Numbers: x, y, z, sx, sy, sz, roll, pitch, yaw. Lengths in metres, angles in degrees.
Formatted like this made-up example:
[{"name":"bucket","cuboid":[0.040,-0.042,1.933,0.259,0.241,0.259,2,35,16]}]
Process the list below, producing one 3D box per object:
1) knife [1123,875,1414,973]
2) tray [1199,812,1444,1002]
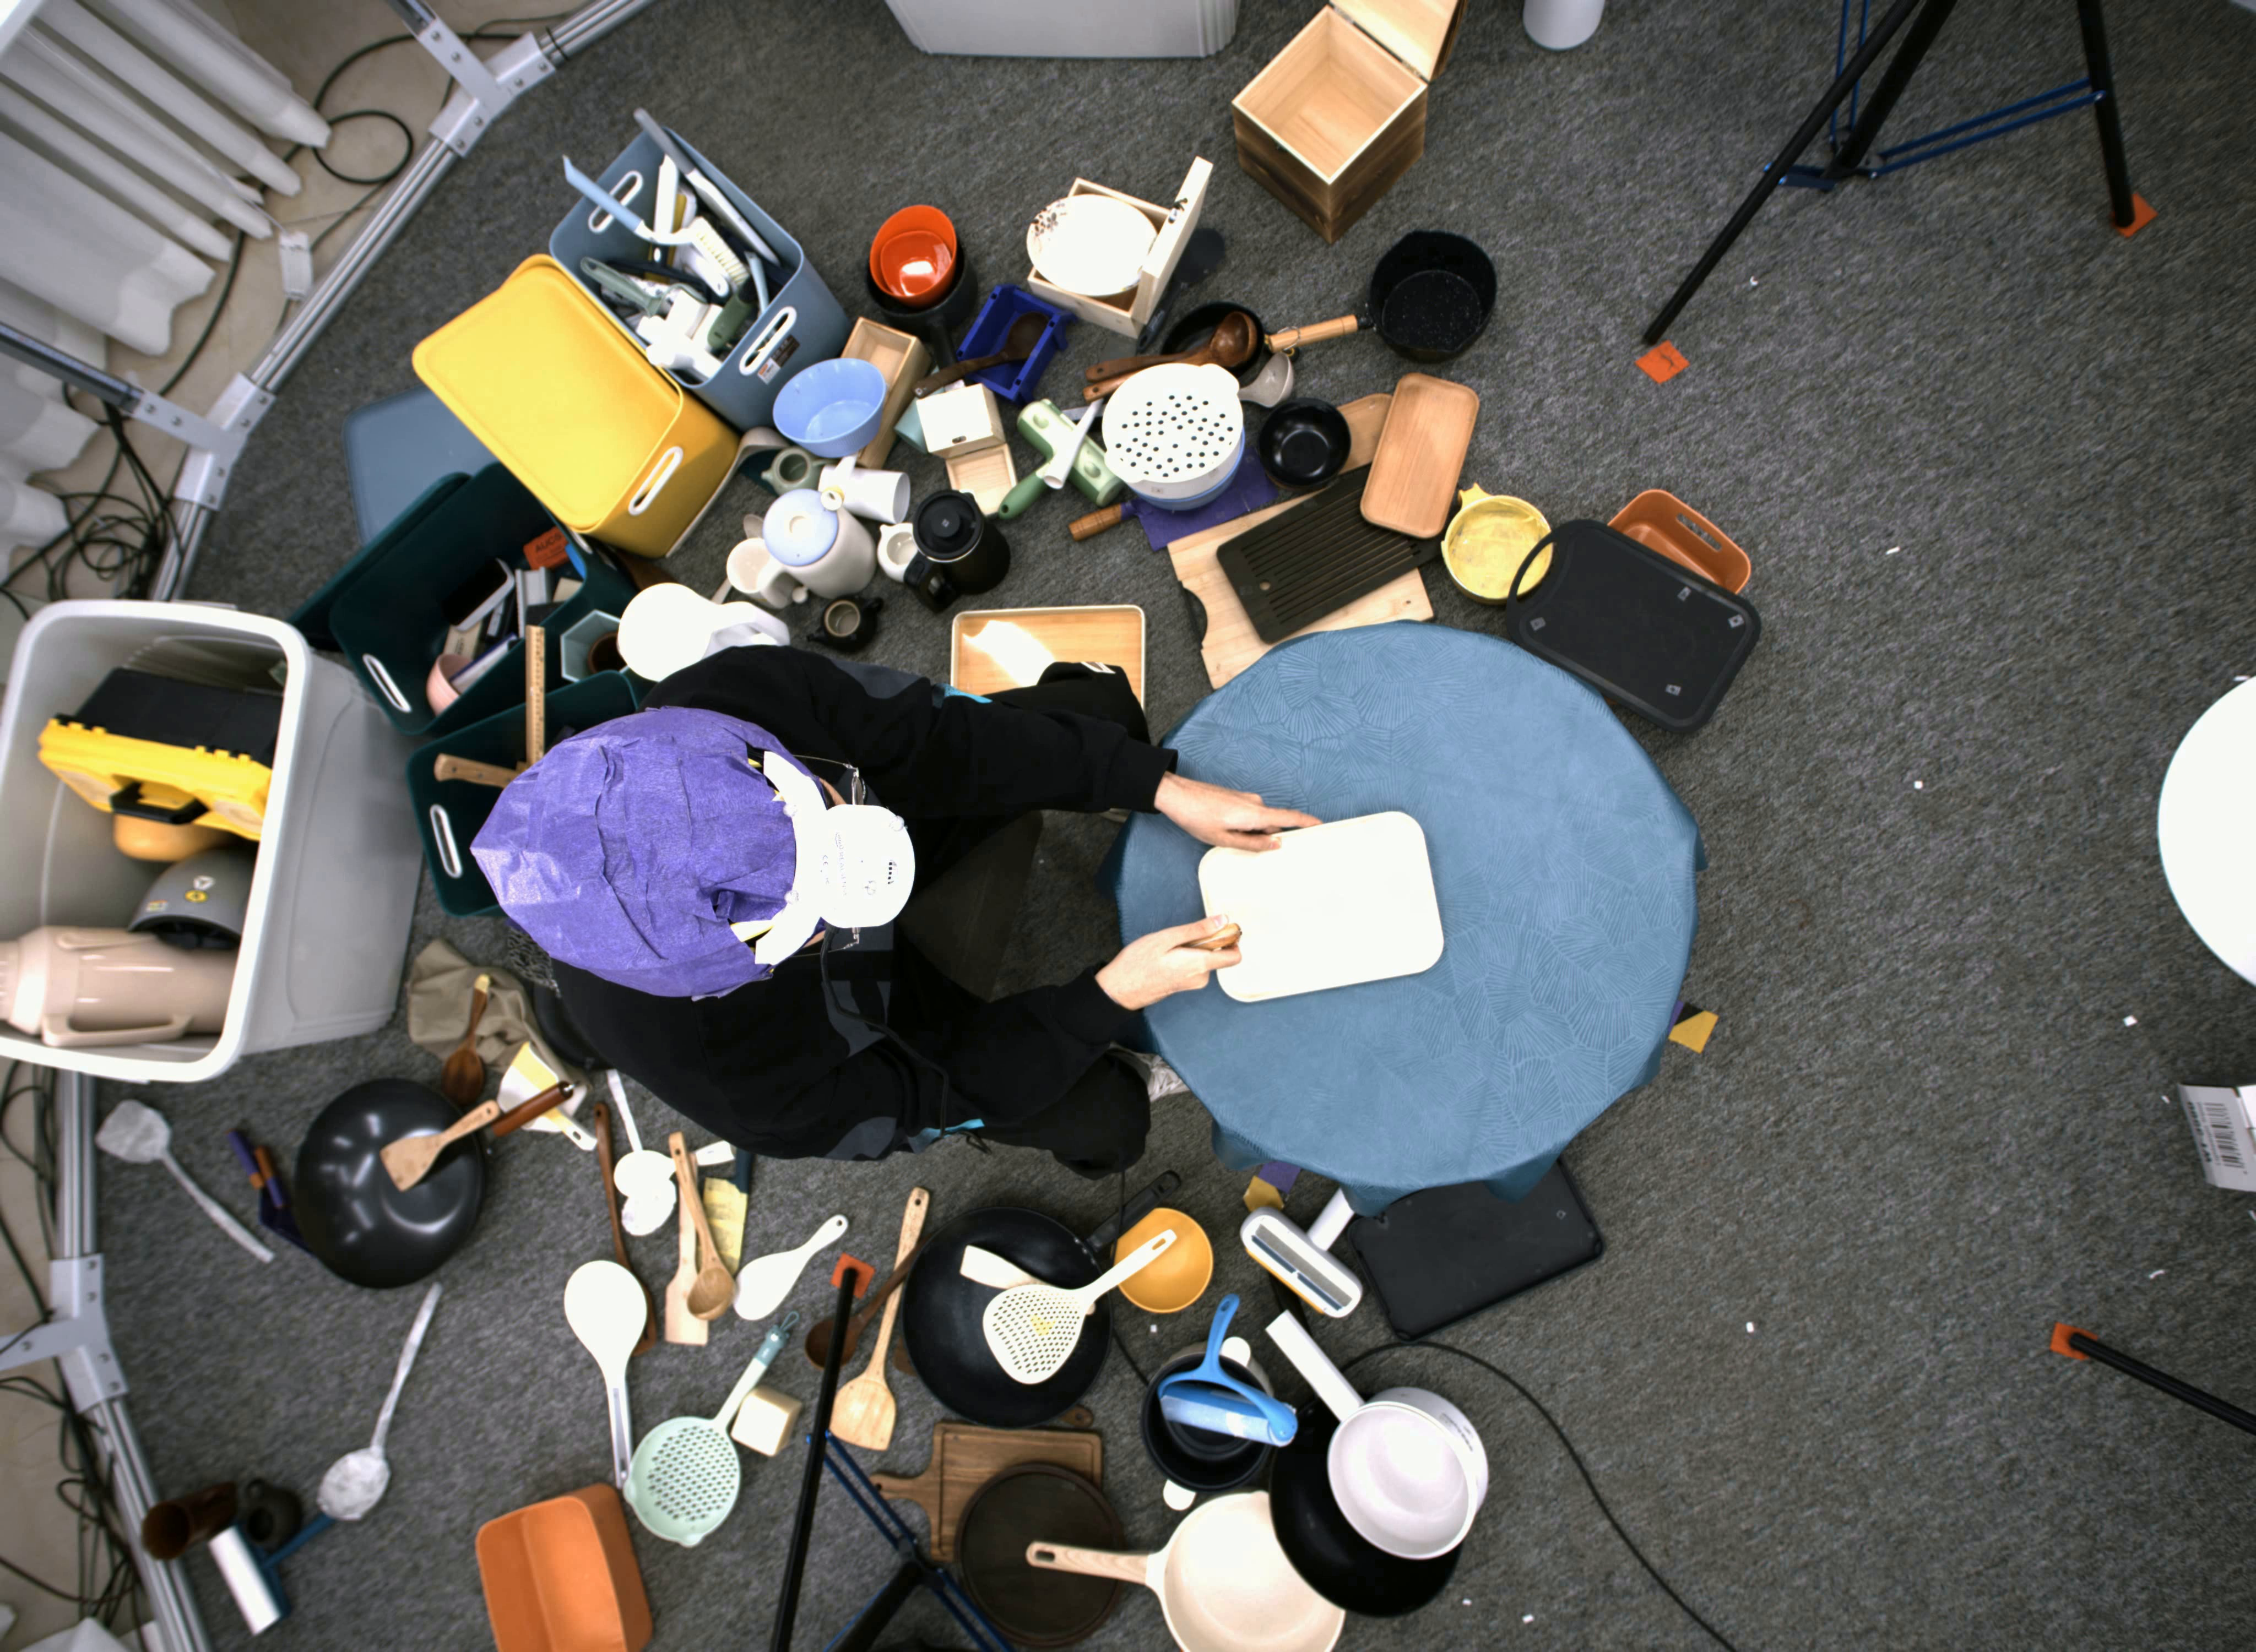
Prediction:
[{"name":"knife","cuboid":[0.146,0.097,1.421,0.308,0.093,0.021,-18,84,10]},{"name":"tray","cuboid":[0.202,0.084,1.454,0.241,0.017,0.171,-11,93,9]}]
